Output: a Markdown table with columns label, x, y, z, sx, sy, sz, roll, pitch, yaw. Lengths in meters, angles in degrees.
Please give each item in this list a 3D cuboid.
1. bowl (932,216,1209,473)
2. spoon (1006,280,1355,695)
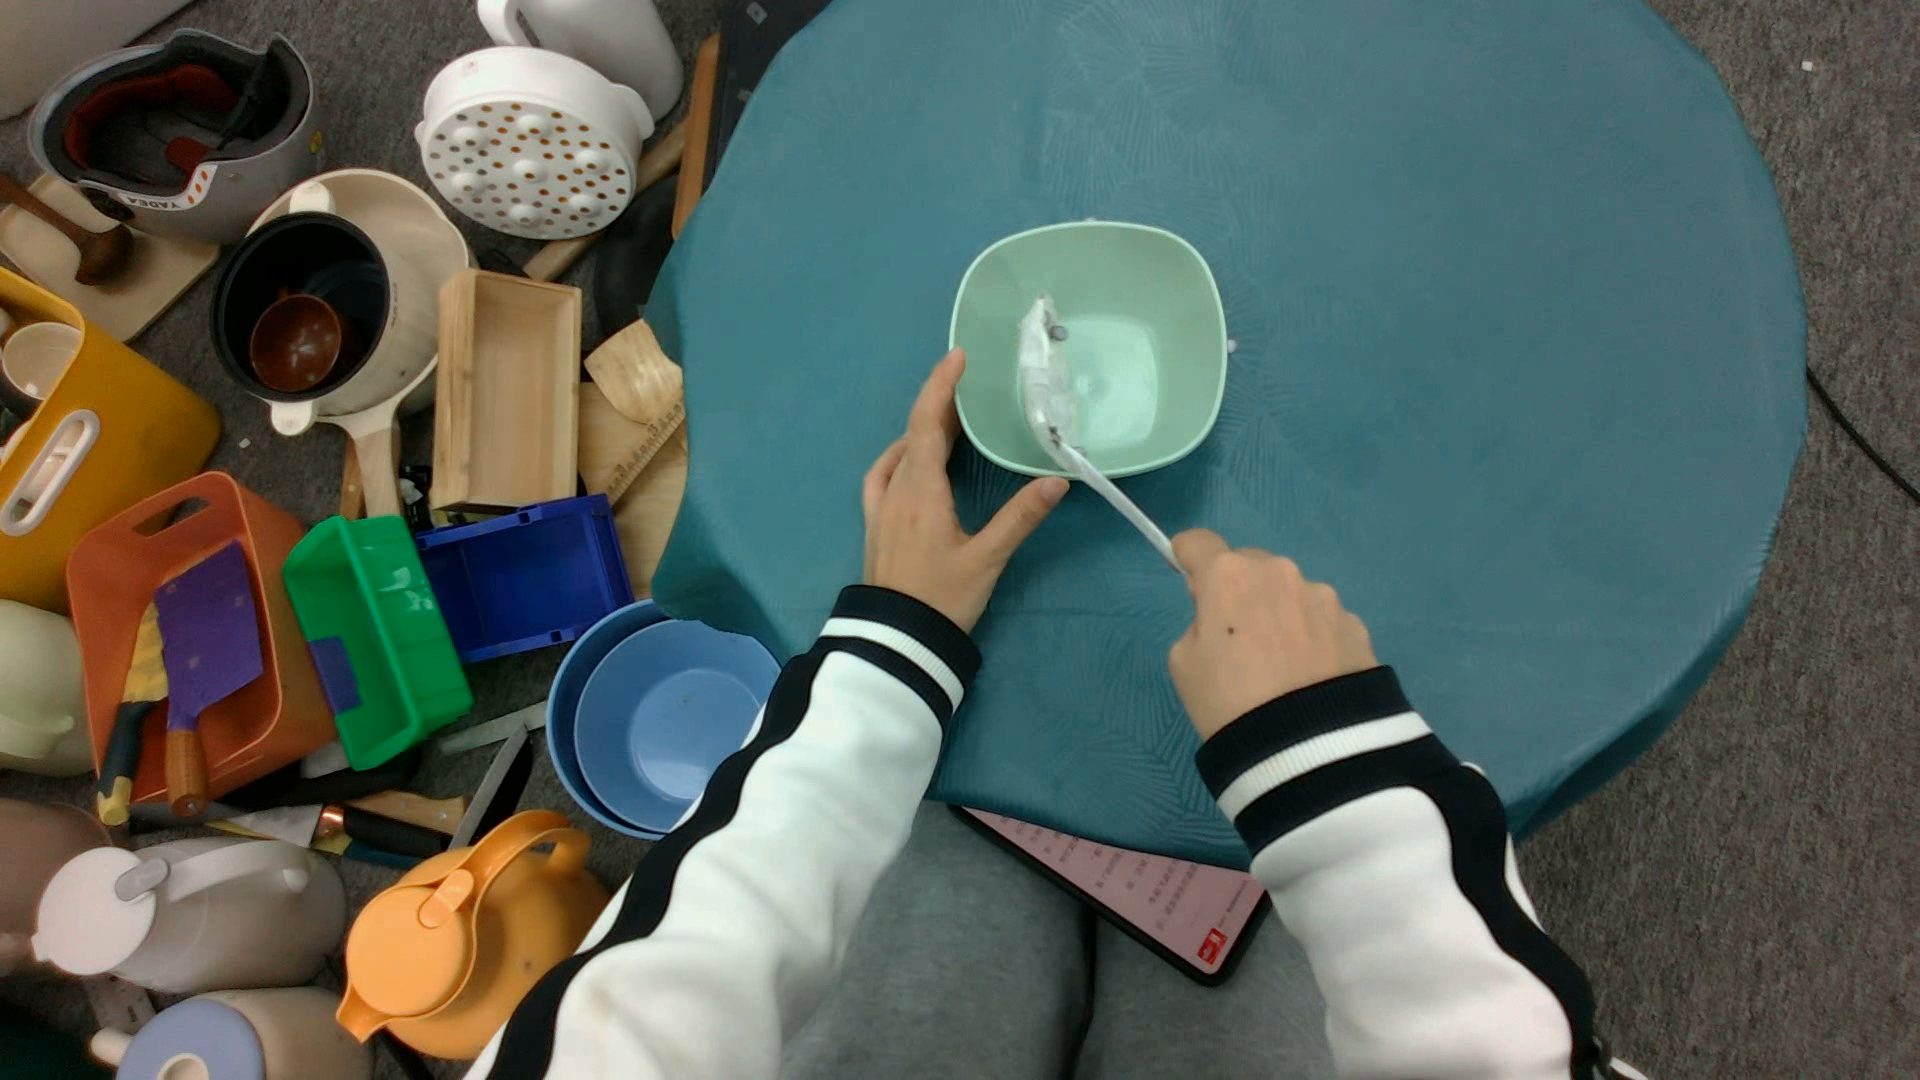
| label | x | y | z | sx | sy | sz | roll | pitch | yaw |
| --- | --- | --- | --- | --- | --- | --- | --- | --- | --- |
| bowl | 0.057 | -0.093 | 0.715 | 0.151 | 0.058 | 0.152 | -1 | 73 | 4 |
| spoon | 0.095 | -0.034 | 0.613 | 0.059 | 0.100 | 0.278 | -37 | 46 | -8 |
